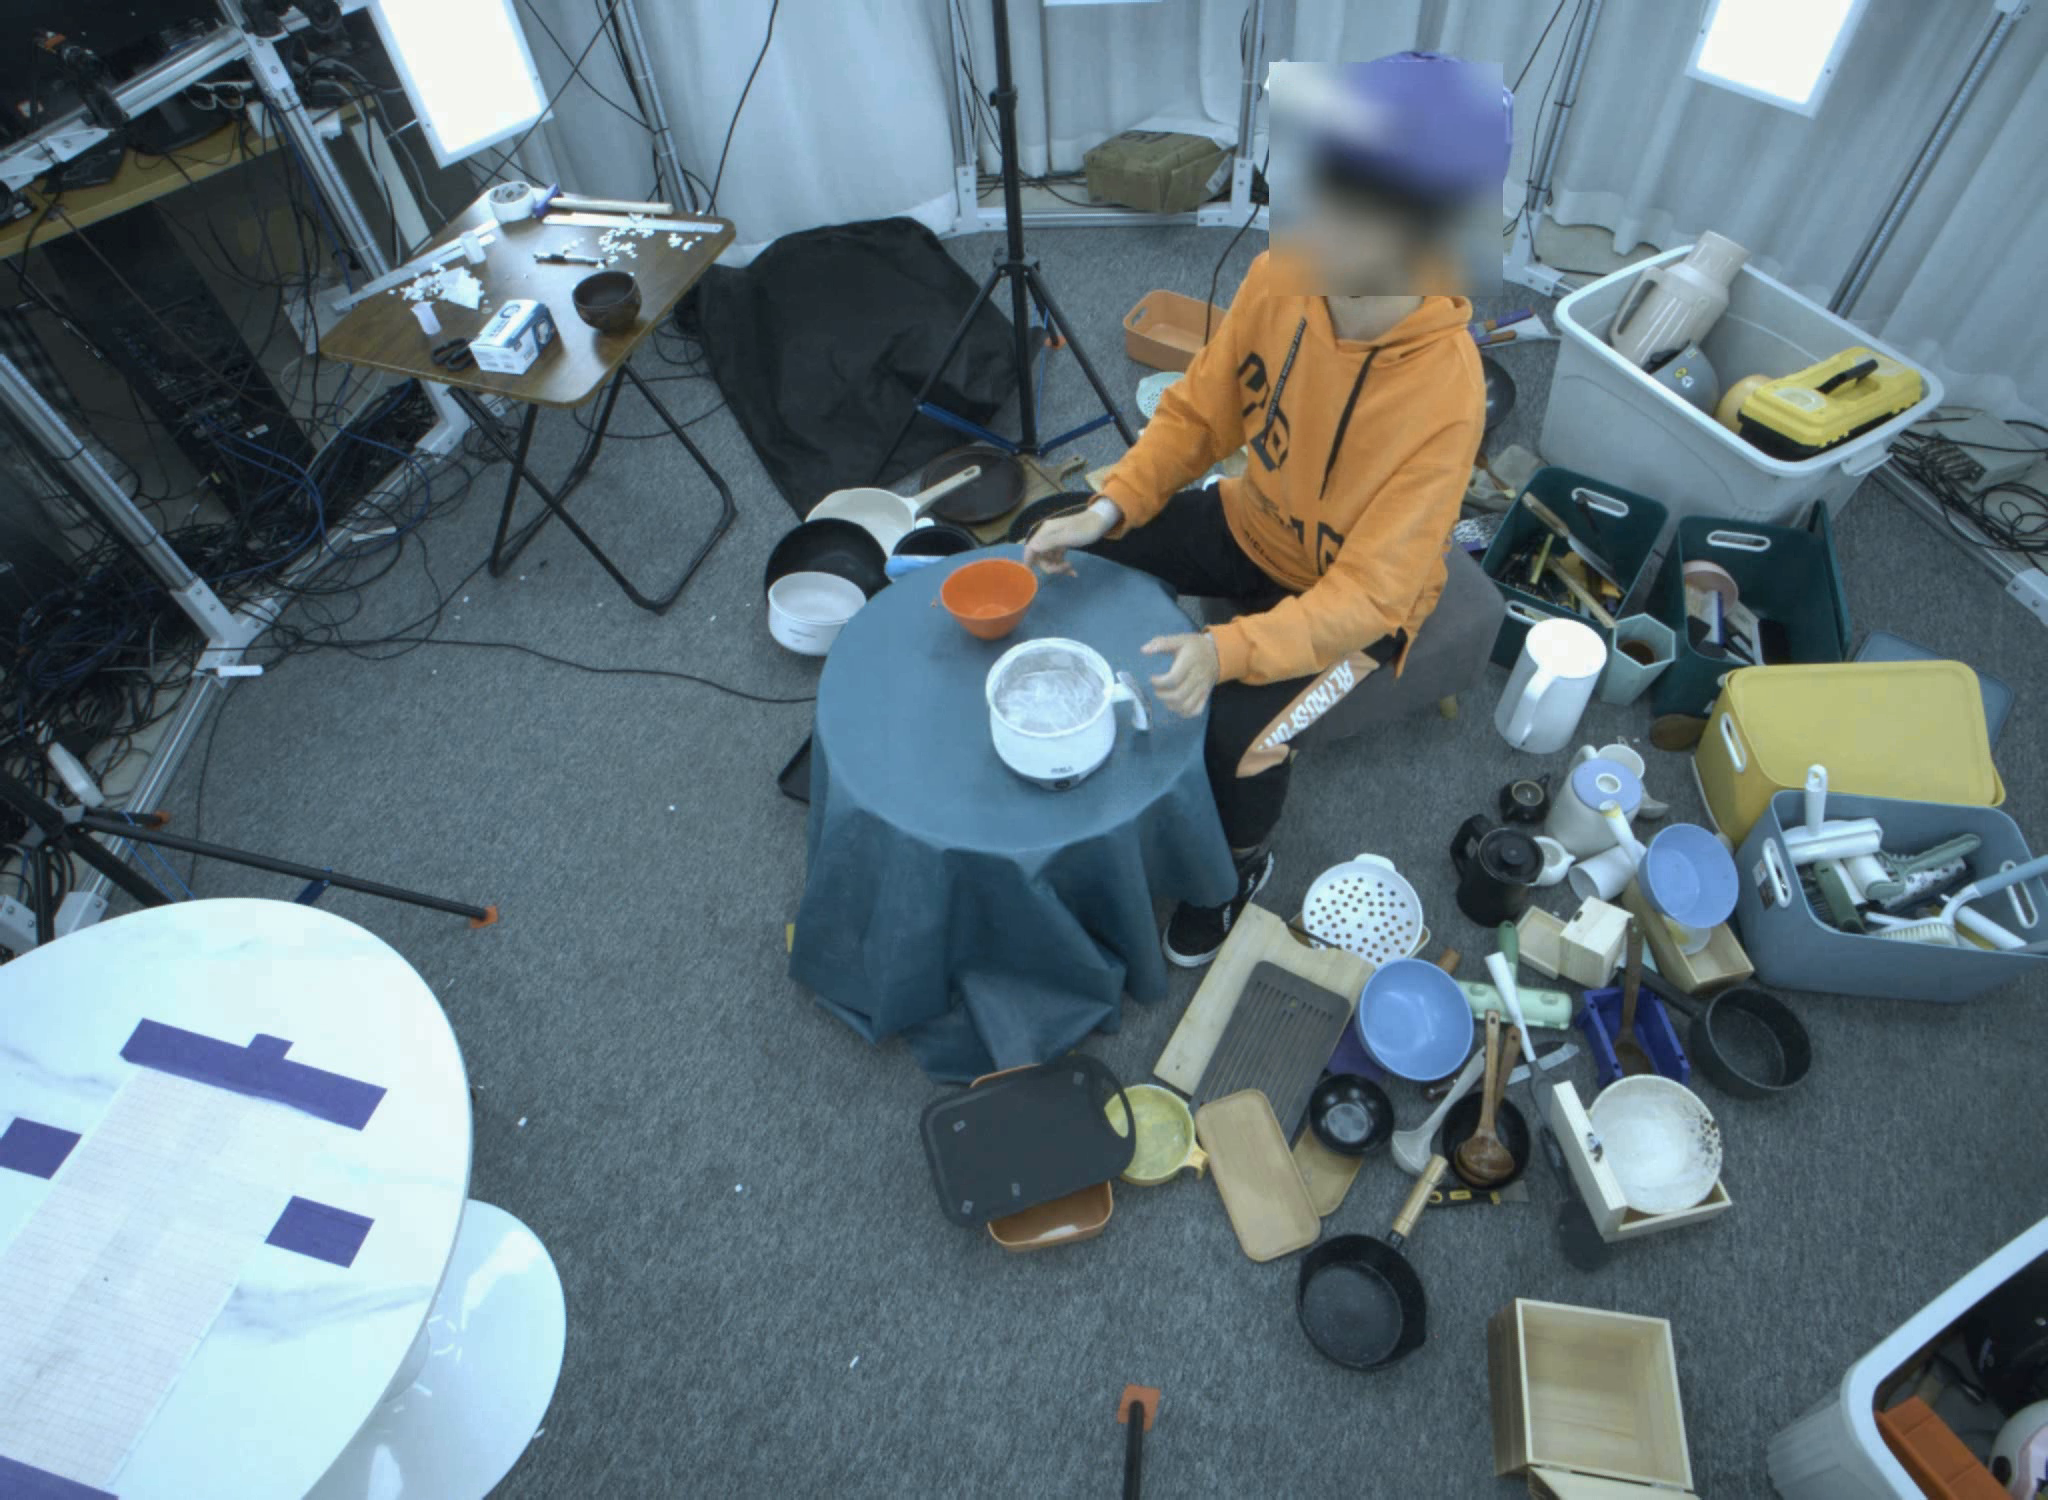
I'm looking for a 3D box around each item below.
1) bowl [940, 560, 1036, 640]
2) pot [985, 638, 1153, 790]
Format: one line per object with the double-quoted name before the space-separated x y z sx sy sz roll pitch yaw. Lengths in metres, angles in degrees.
"bowl" -0.052 -0.219 1.884 0.148 0.106 0.146 -1 53 3
"pot" 0.066 -0.055 1.739 0.234 0.138 0.176 -10 55 -4
